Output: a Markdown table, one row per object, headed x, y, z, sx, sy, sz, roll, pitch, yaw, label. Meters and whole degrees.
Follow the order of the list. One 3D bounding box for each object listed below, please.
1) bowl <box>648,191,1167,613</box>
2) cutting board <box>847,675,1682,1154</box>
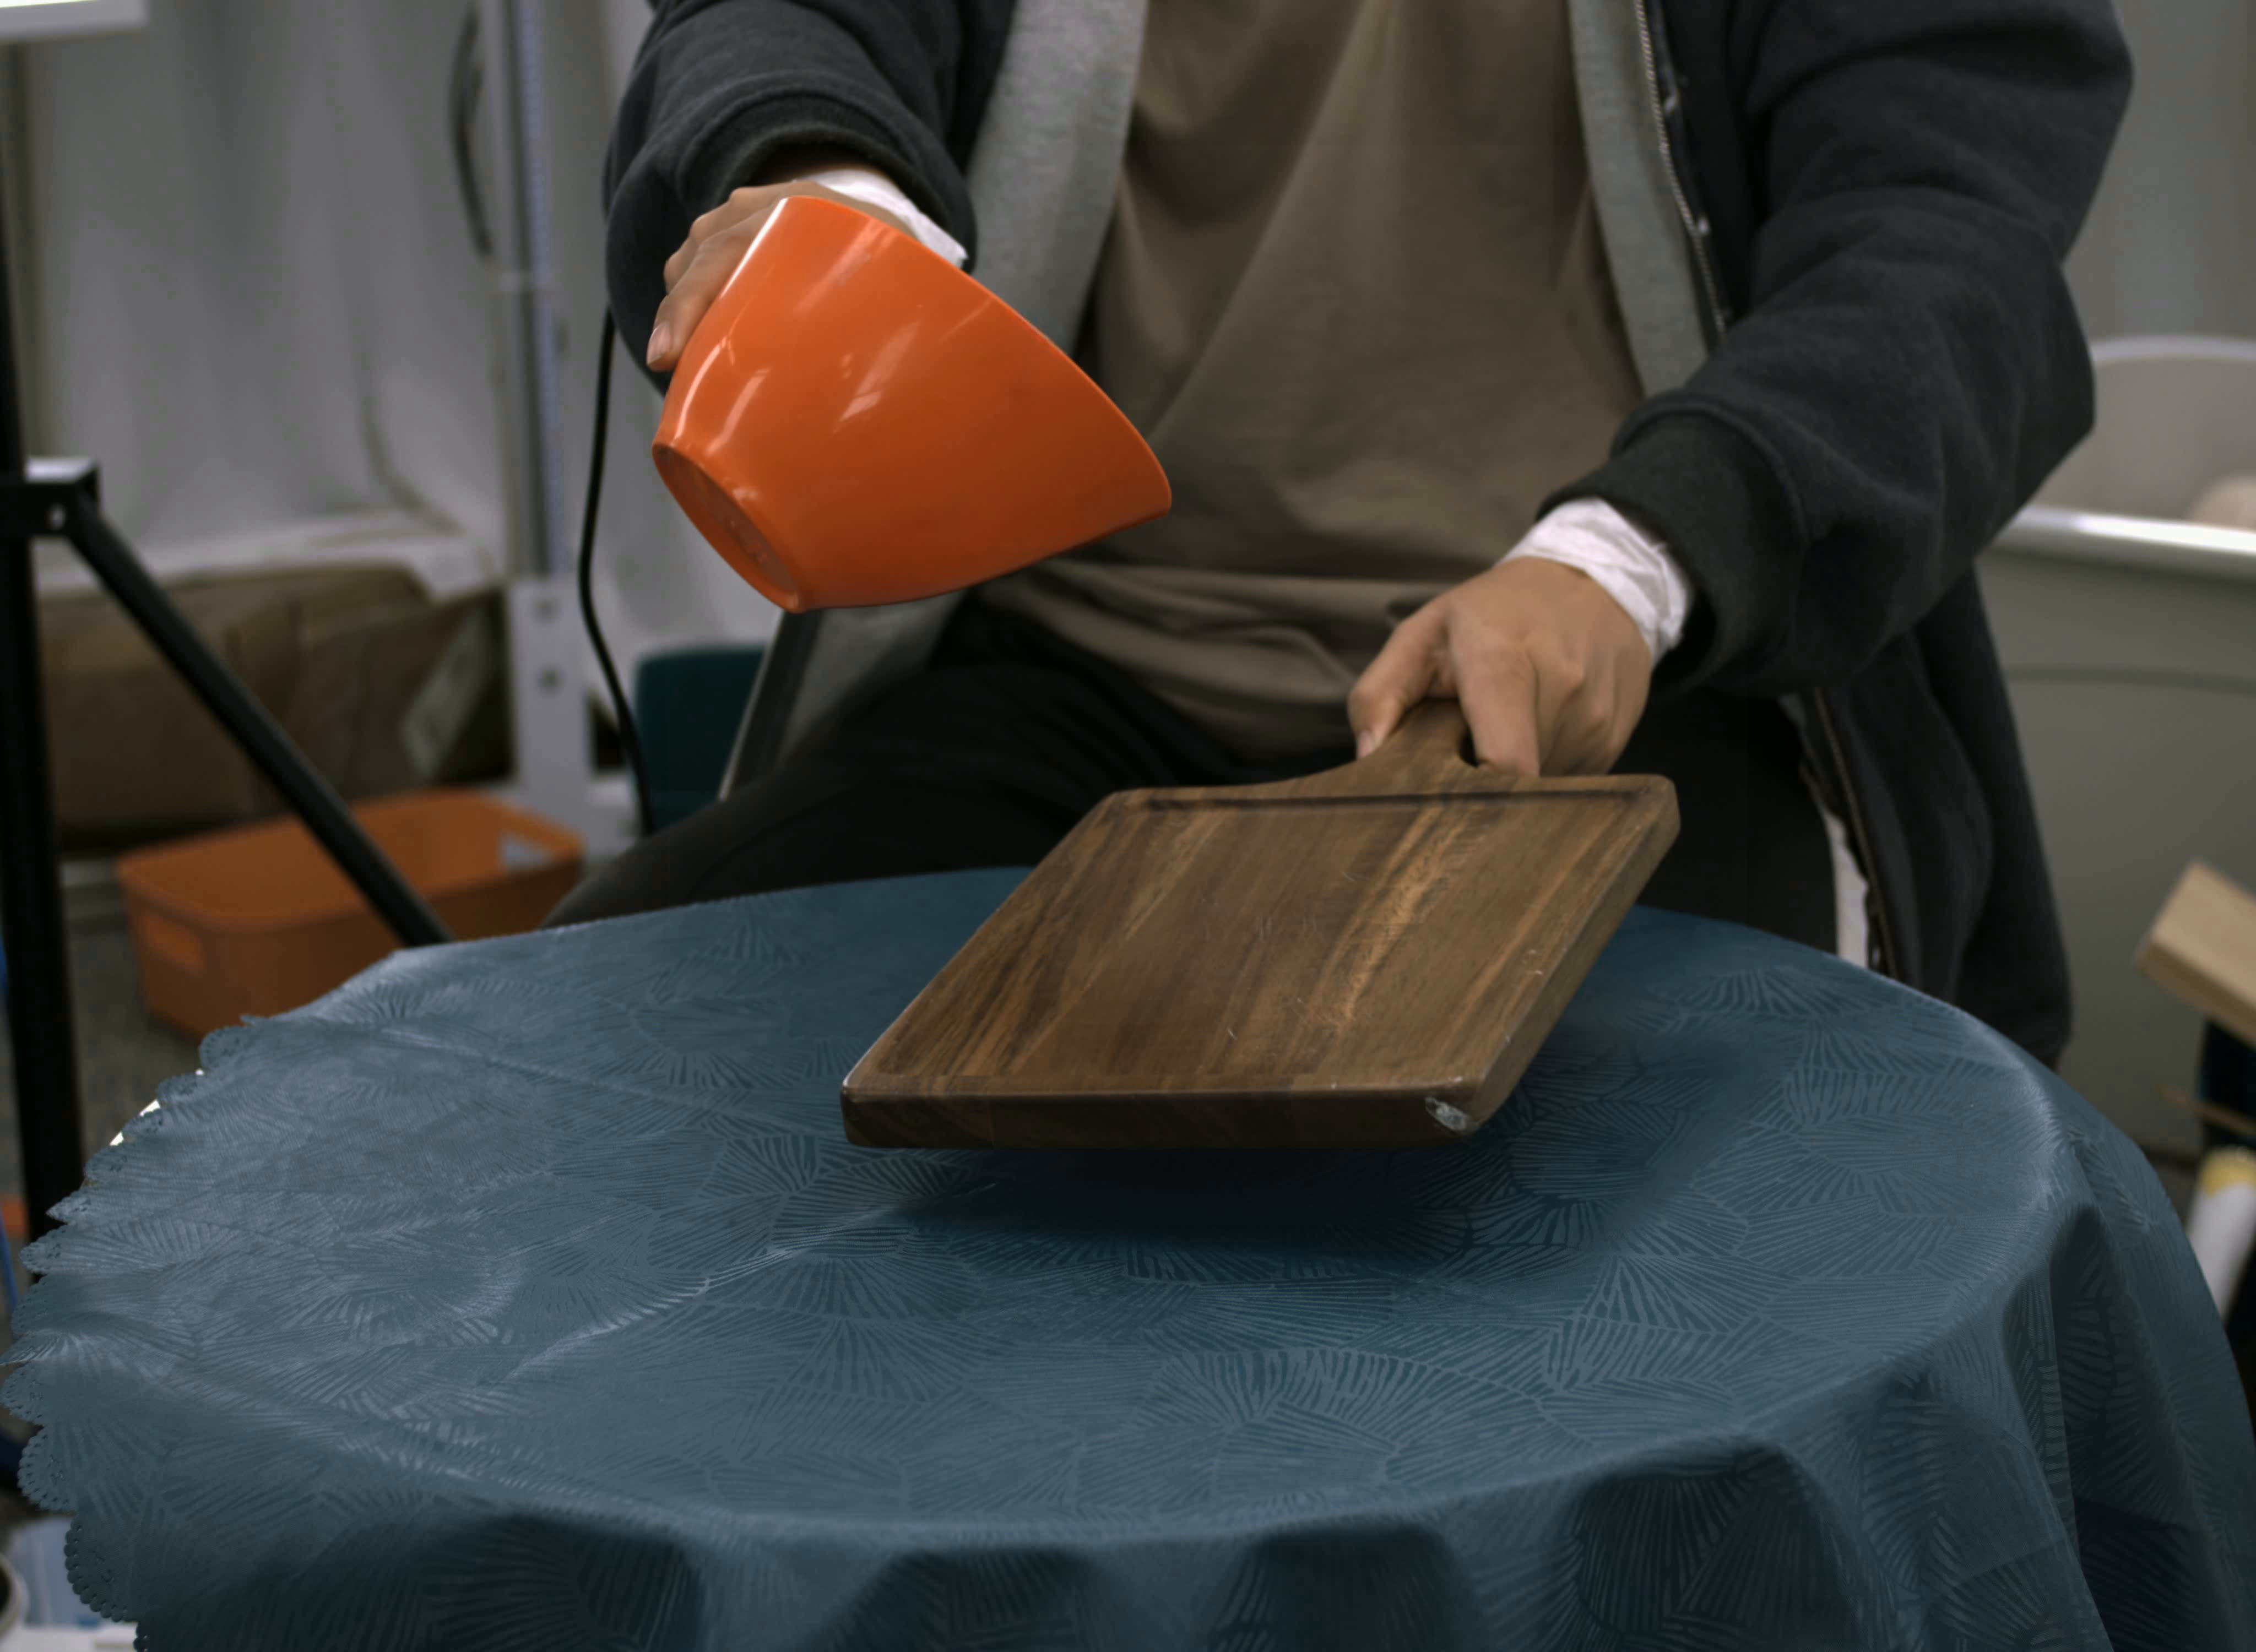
| x | y | z | sx | sy | sz | roll | pitch | yaw | label |
| --- | --- | --- | --- | --- | --- | --- | --- | --- | --- |
| -0.076 | -0.113 | 1.595 | 0.104 | 0.146 | 0.151 | -42 | 28 | -12 | bowl |
| 0.062 | 0.022 | 1.651 | 0.203 | 0.023 | 0.349 | -2 | 21 | 21 | cutting board |
